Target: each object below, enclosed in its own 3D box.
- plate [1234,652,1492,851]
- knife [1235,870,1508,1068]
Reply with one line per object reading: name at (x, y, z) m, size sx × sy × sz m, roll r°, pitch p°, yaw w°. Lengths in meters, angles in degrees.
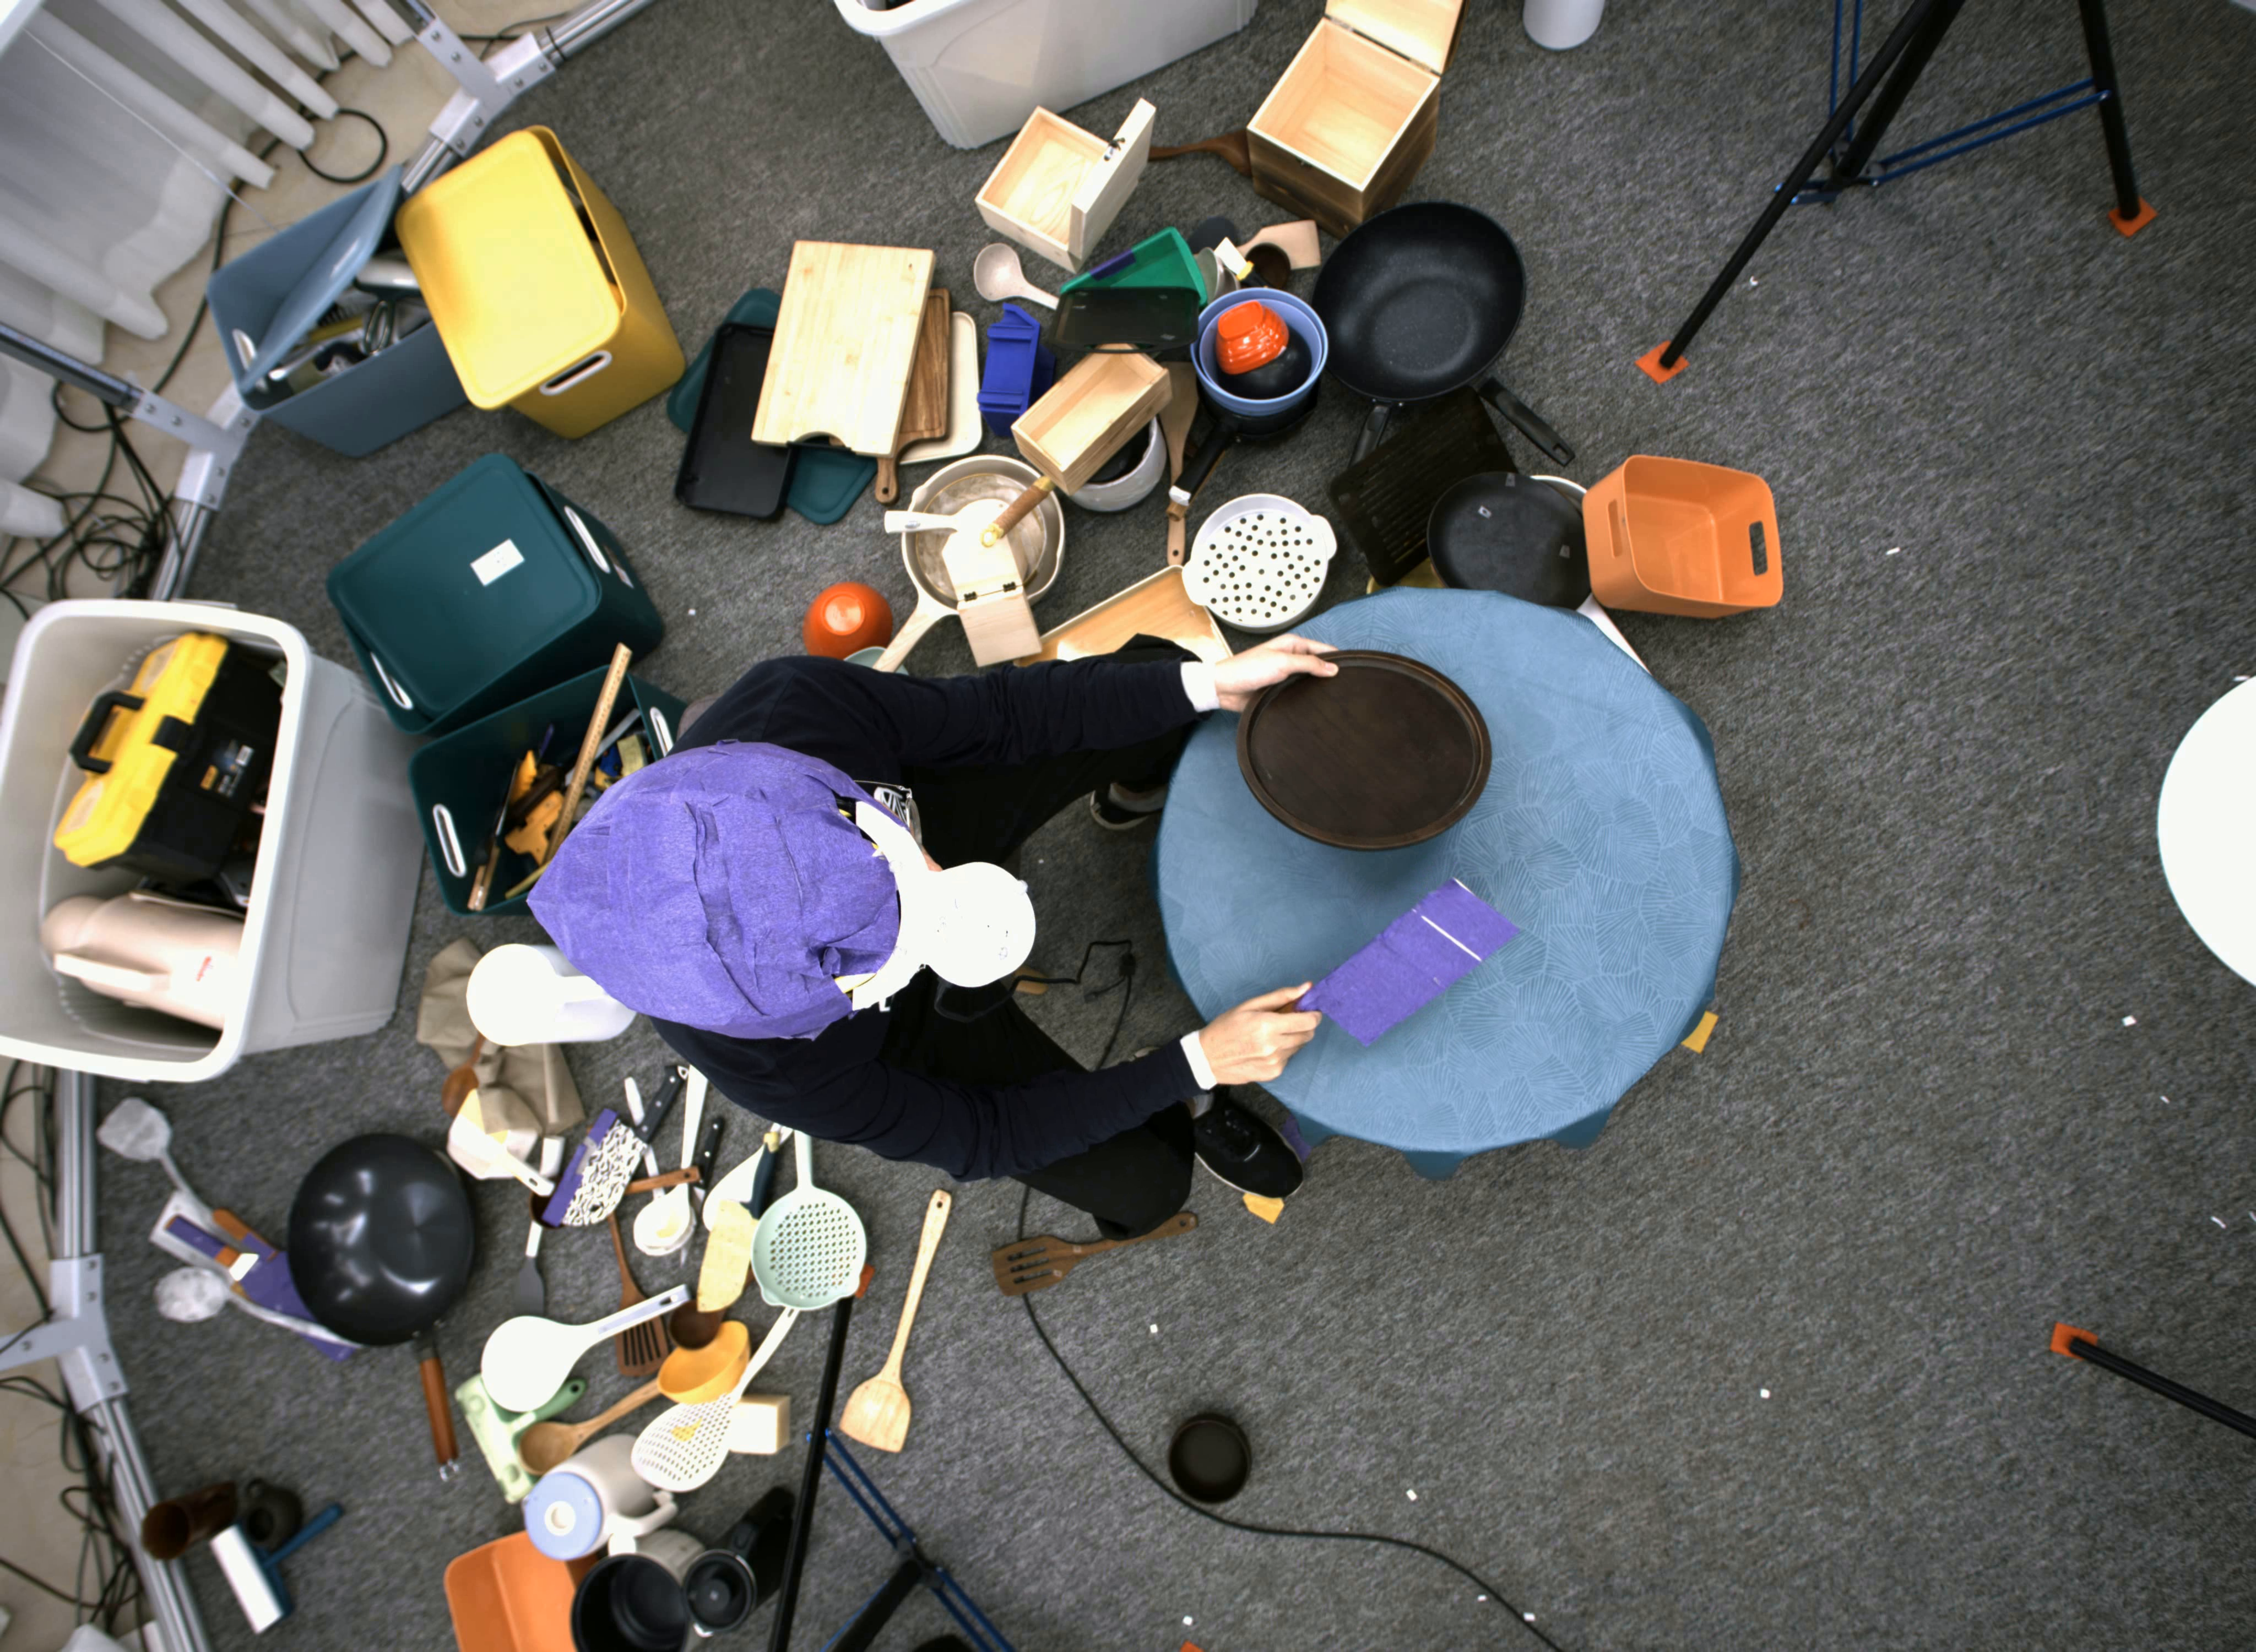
plate at (0.231, -0.078, 1.365) m, size 0.255 × 0.030 × 0.248 m, roll -1°, pitch 55°, yaw 2°
knife at (0.235, 0.162, 1.355) m, size 0.104 × 0.031 × 0.322 m, roll 36°, pitch 127°, yaw -12°
